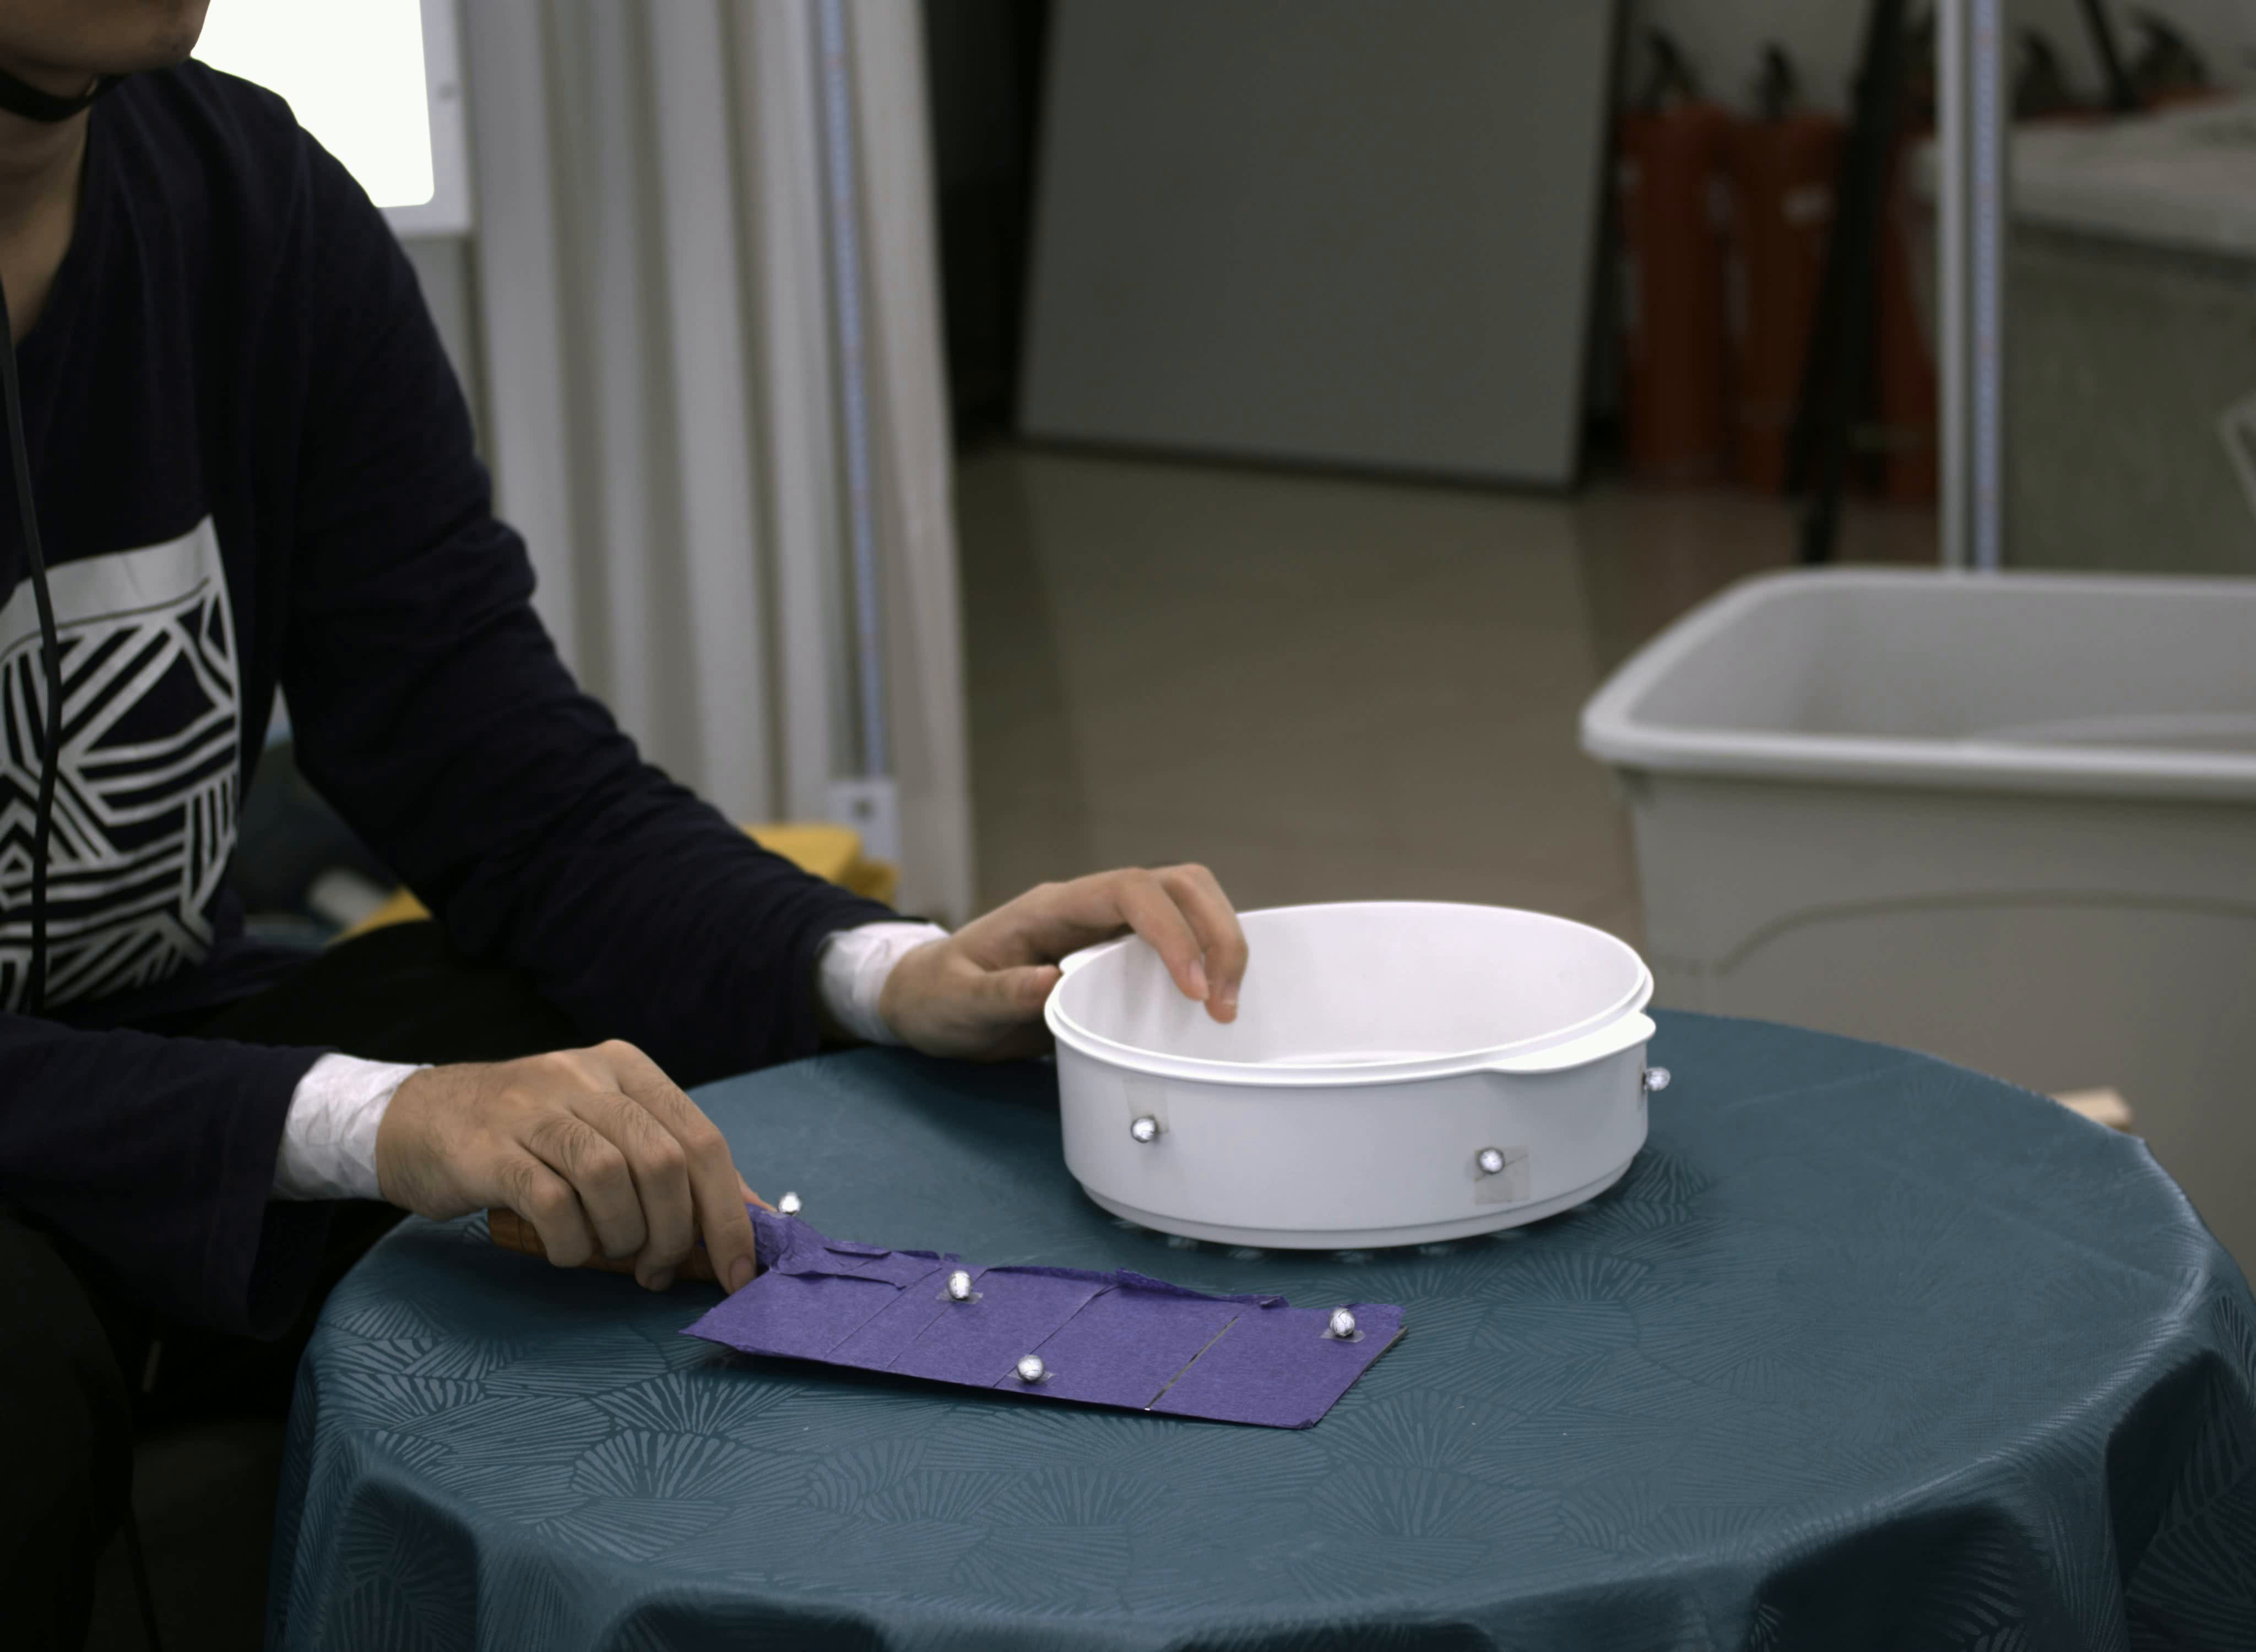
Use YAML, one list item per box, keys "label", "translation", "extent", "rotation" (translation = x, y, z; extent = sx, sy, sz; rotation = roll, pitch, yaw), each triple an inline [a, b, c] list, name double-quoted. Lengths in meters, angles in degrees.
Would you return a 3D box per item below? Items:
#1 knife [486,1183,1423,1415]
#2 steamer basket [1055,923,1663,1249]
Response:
- label: "knife"
  translation: [-0.070, 0.144, 1.646]
  extent: [0.315, 0.032, 0.102]
  rotation: [3, 15, 25]
- label: "steamer basket"
  translation: [0.077, 0.085, 1.765]
  extent: [0.197, 0.070, 0.233]
  rotation: [-15, 14, -41]
